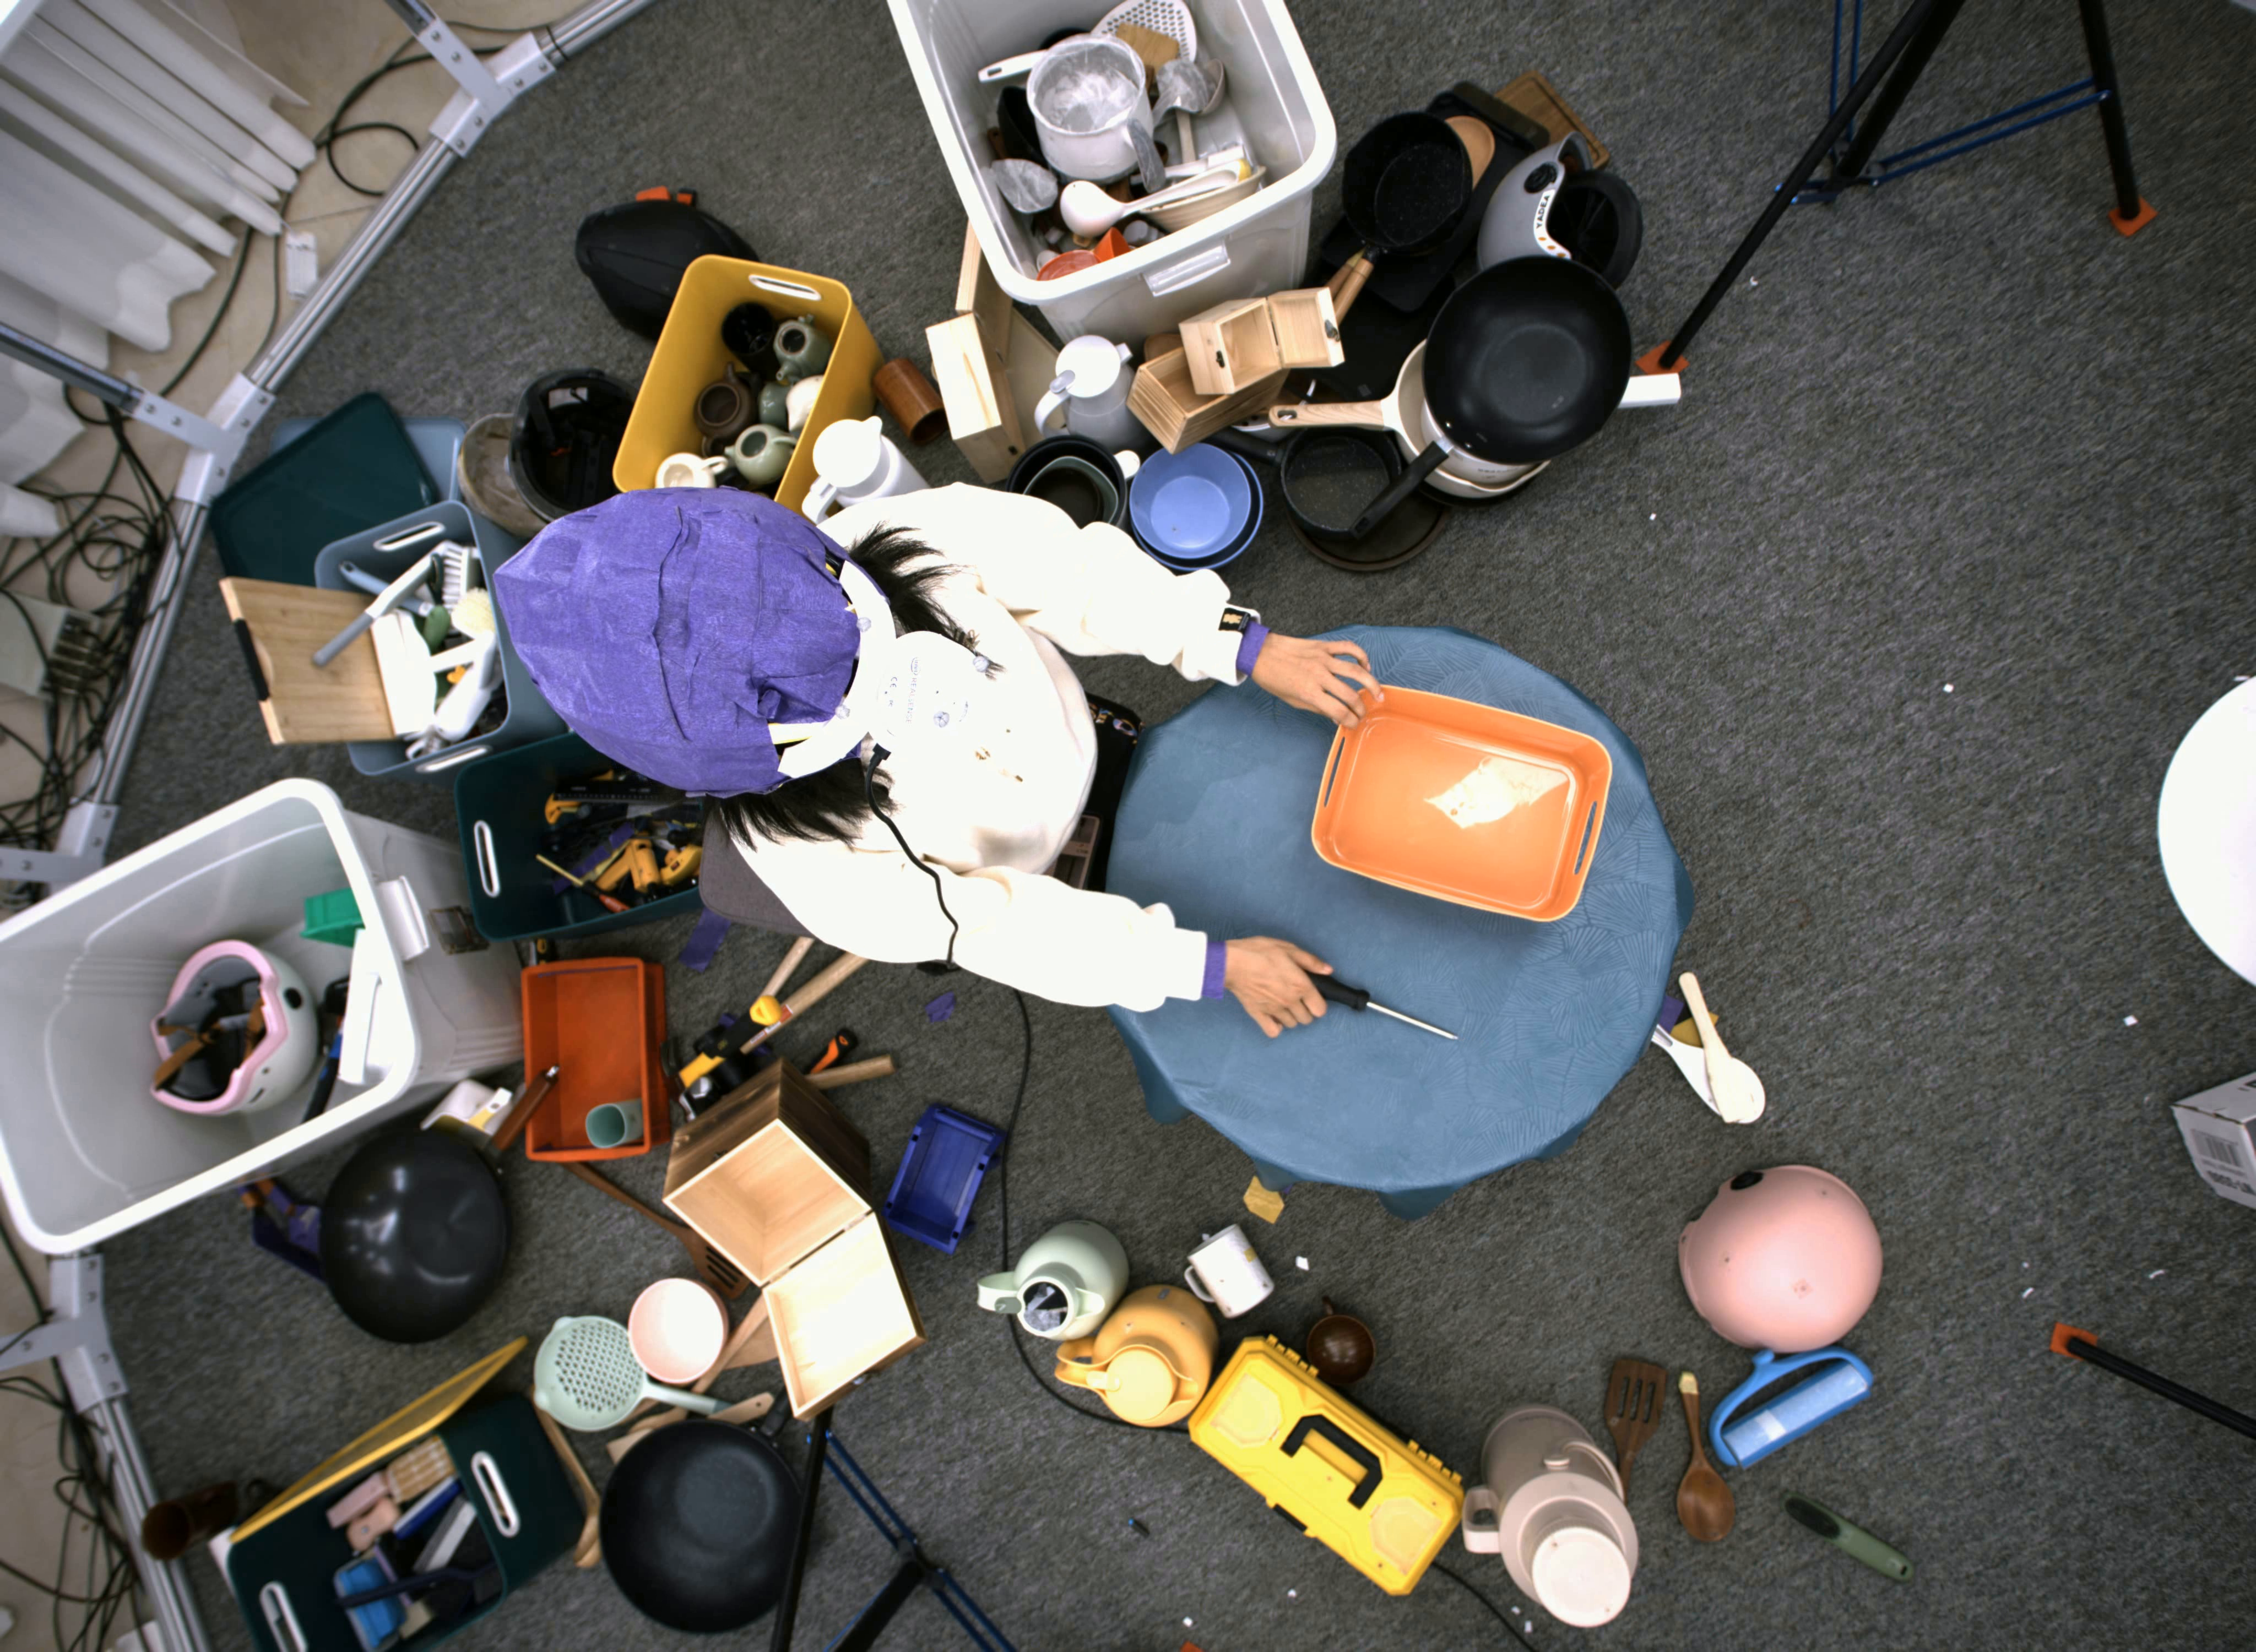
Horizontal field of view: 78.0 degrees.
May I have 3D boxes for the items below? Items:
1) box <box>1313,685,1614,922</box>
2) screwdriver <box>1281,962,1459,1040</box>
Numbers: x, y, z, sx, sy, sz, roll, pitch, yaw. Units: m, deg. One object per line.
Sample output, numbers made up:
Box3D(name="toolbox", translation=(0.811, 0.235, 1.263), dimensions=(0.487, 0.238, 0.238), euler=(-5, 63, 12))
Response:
Box3D(name="box", translation=(0.336, -0.022, 1.400), dimensions=(0.273, 0.102, 0.199), euler=(15, 90, 11))
Box3D(name="screwdriver", translation=(0.253, 0.187, 1.447), dimensions=(0.196, 0.031, 0.031), euler=(23, 89, 5))
